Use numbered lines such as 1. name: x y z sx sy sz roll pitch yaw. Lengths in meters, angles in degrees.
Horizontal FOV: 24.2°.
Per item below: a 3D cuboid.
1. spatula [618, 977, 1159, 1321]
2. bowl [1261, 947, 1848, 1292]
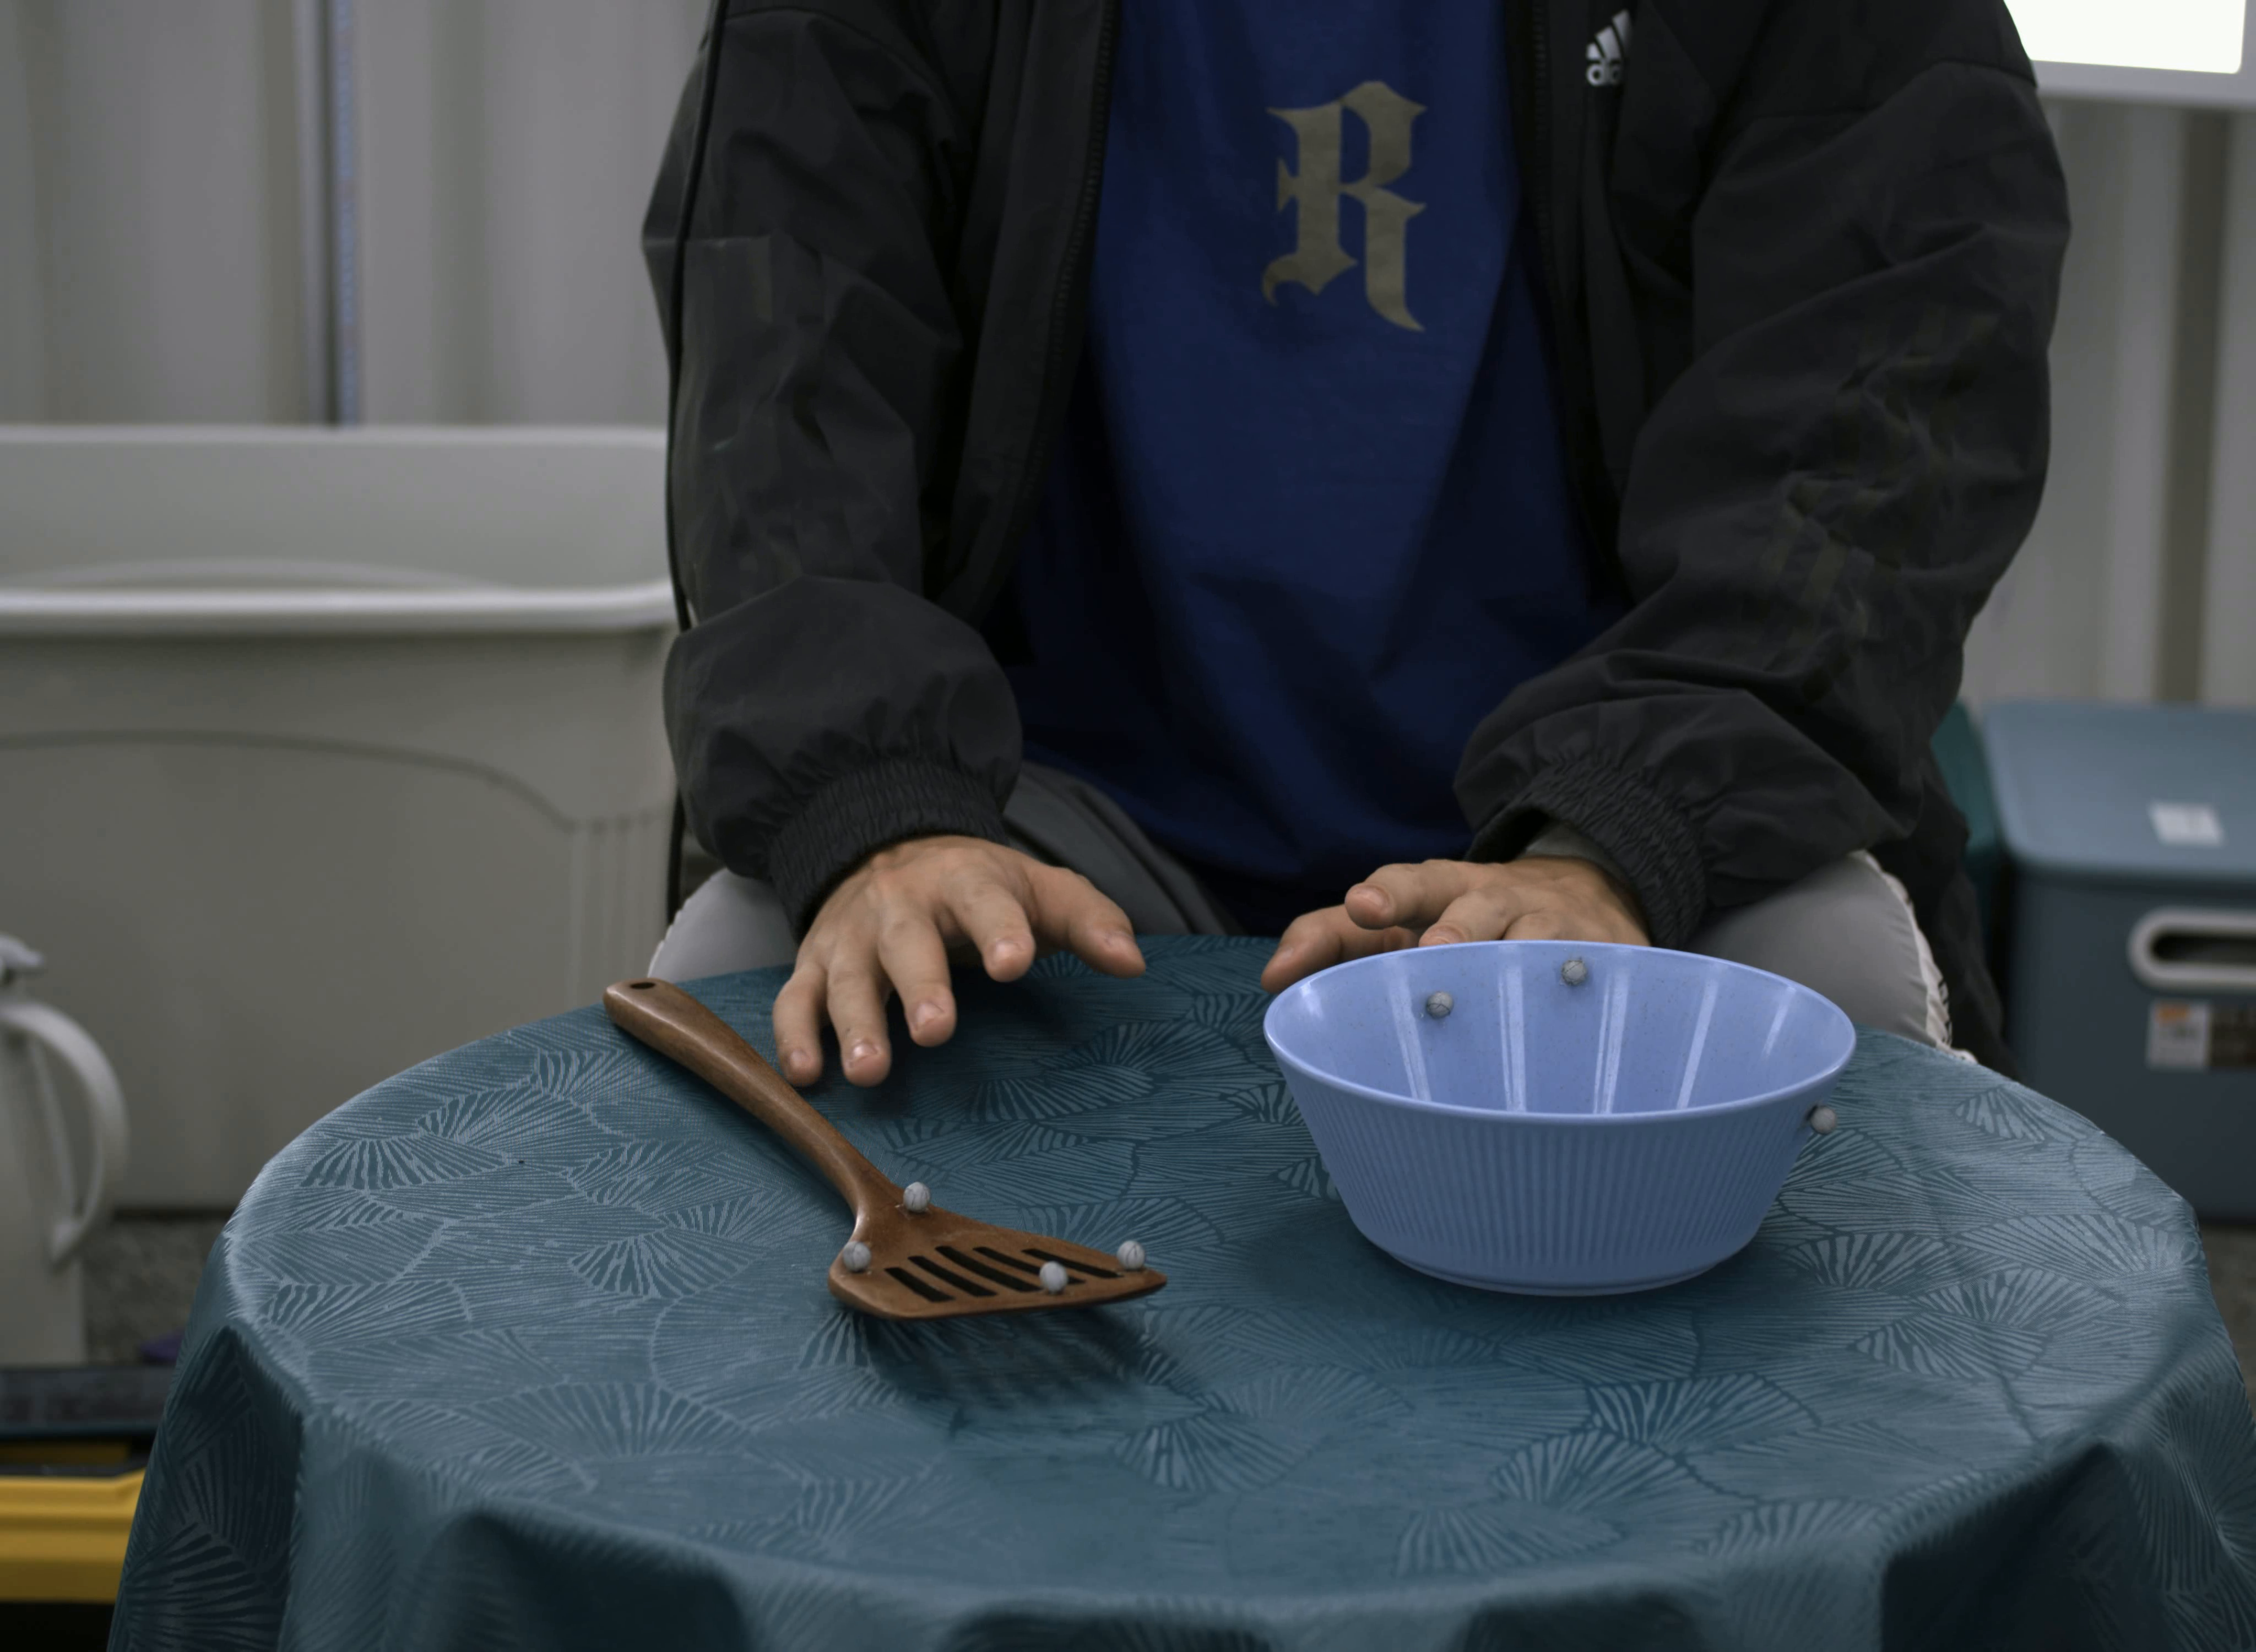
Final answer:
1. spatula: -0.095 0.100 1.628 0.086 0.024 0.382 -5 15 -22
2. bowl: 0.127 0.090 1.576 0.175 0.071 0.175 1 14 0
